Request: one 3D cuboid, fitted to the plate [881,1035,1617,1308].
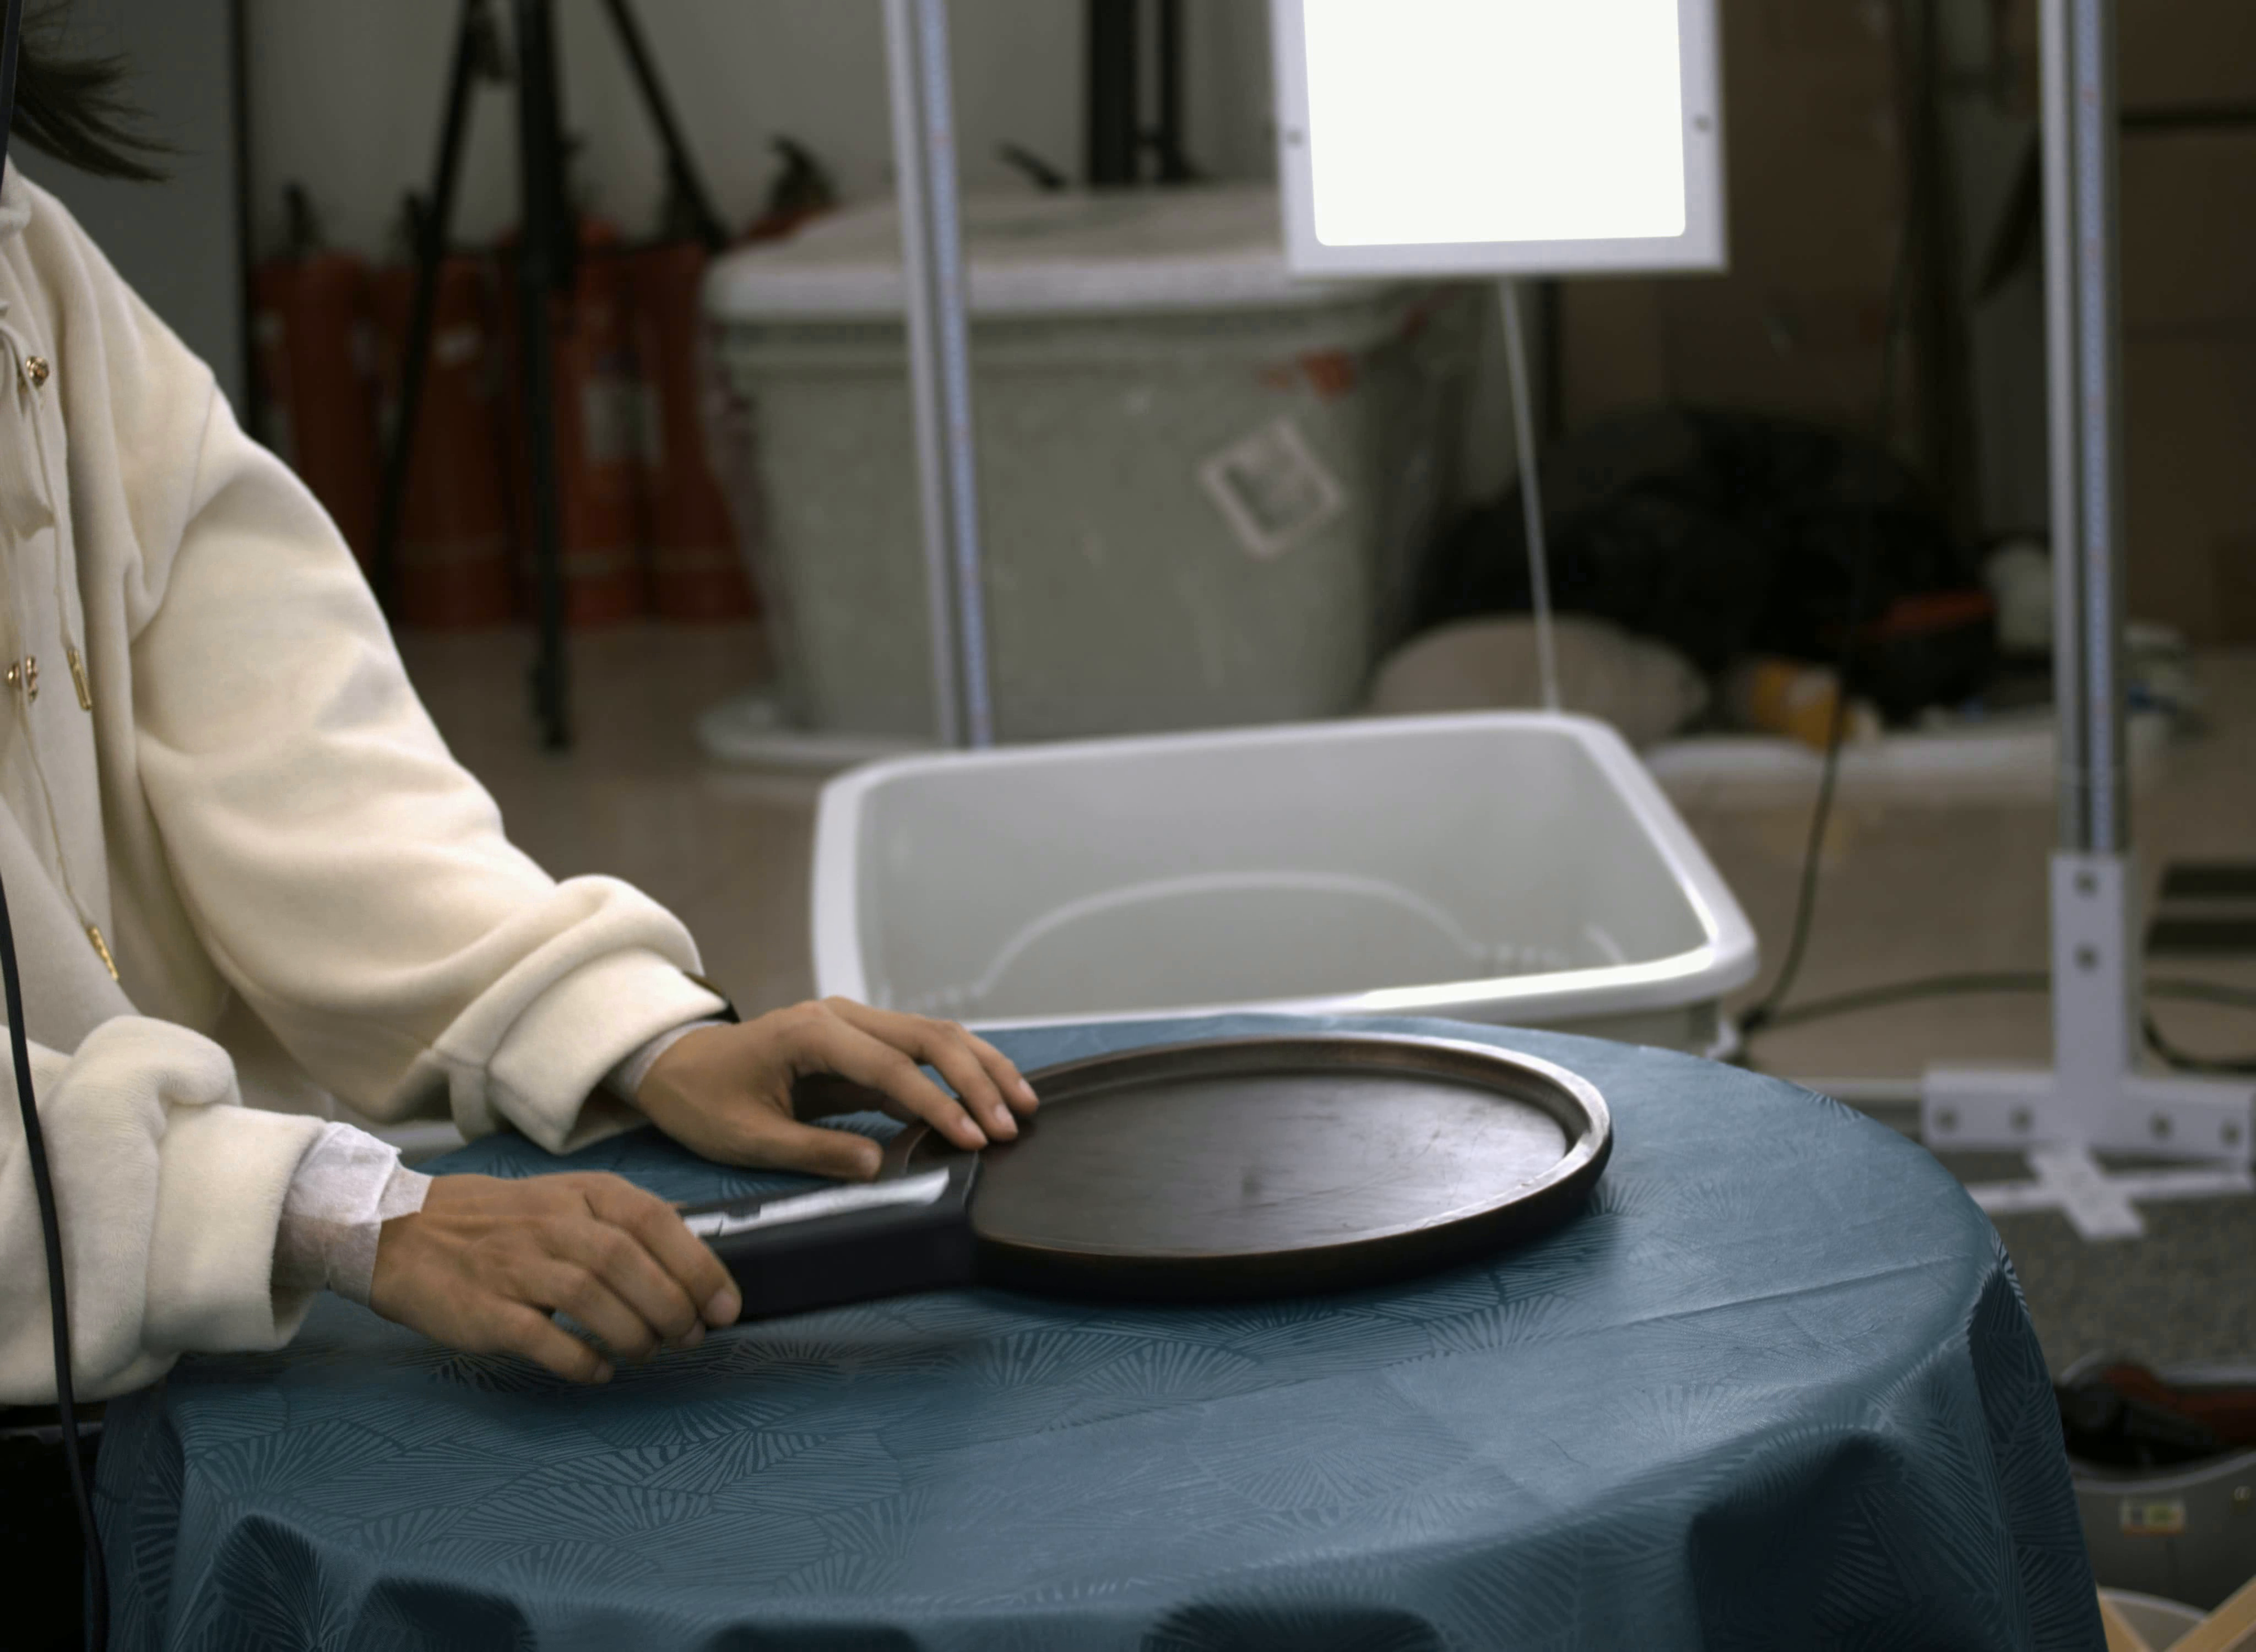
[{"bbox_3d":[0.041,0.115,1.879,0.254,0.029,0.254,-4,14,0],"label":"plate"}]

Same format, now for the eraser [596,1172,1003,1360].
[{"bbox_3d":[-0.103,0.139,1.751,0.126,0.030,0.053,-11,13,12],"label":"eraser"}]
